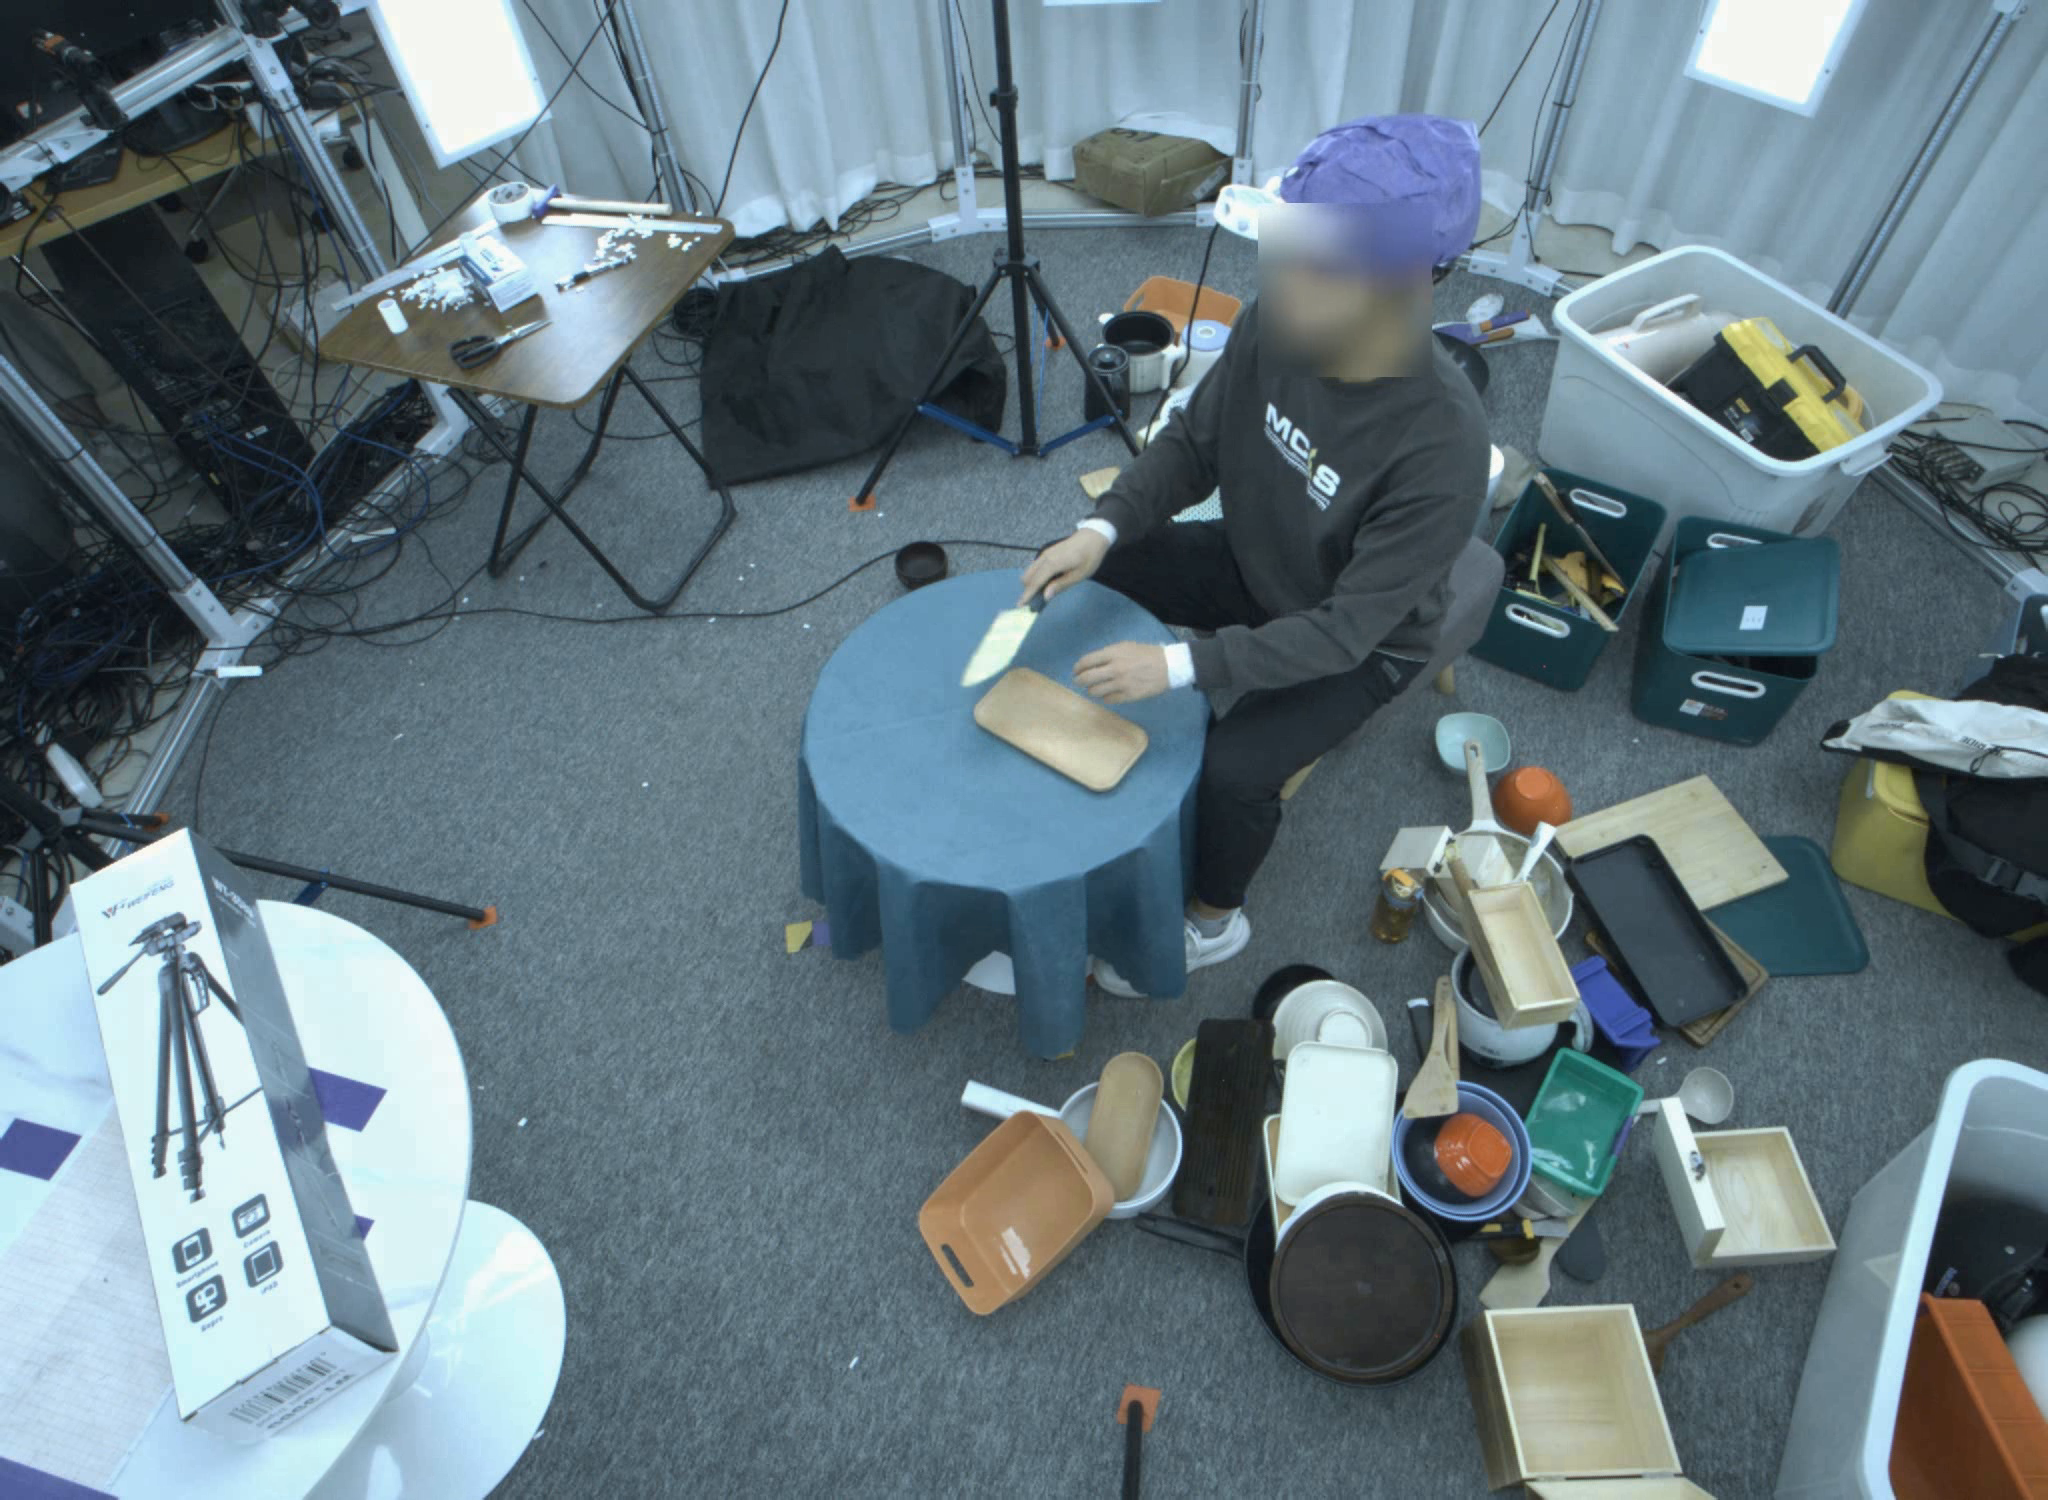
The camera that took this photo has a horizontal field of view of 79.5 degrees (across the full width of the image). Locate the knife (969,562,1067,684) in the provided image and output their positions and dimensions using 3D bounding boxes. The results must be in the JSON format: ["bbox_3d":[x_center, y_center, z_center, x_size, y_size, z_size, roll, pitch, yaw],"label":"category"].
[{"bbox_3d":[-0.007,-0.190,1.826,0.079,0.028,0.290,-1,41,35],"label":"knife"}]

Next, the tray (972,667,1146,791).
[{"bbox_3d":[0.049,-0.033,1.807,0.247,0.023,0.131,30,58,21],"label":"tray"}]
